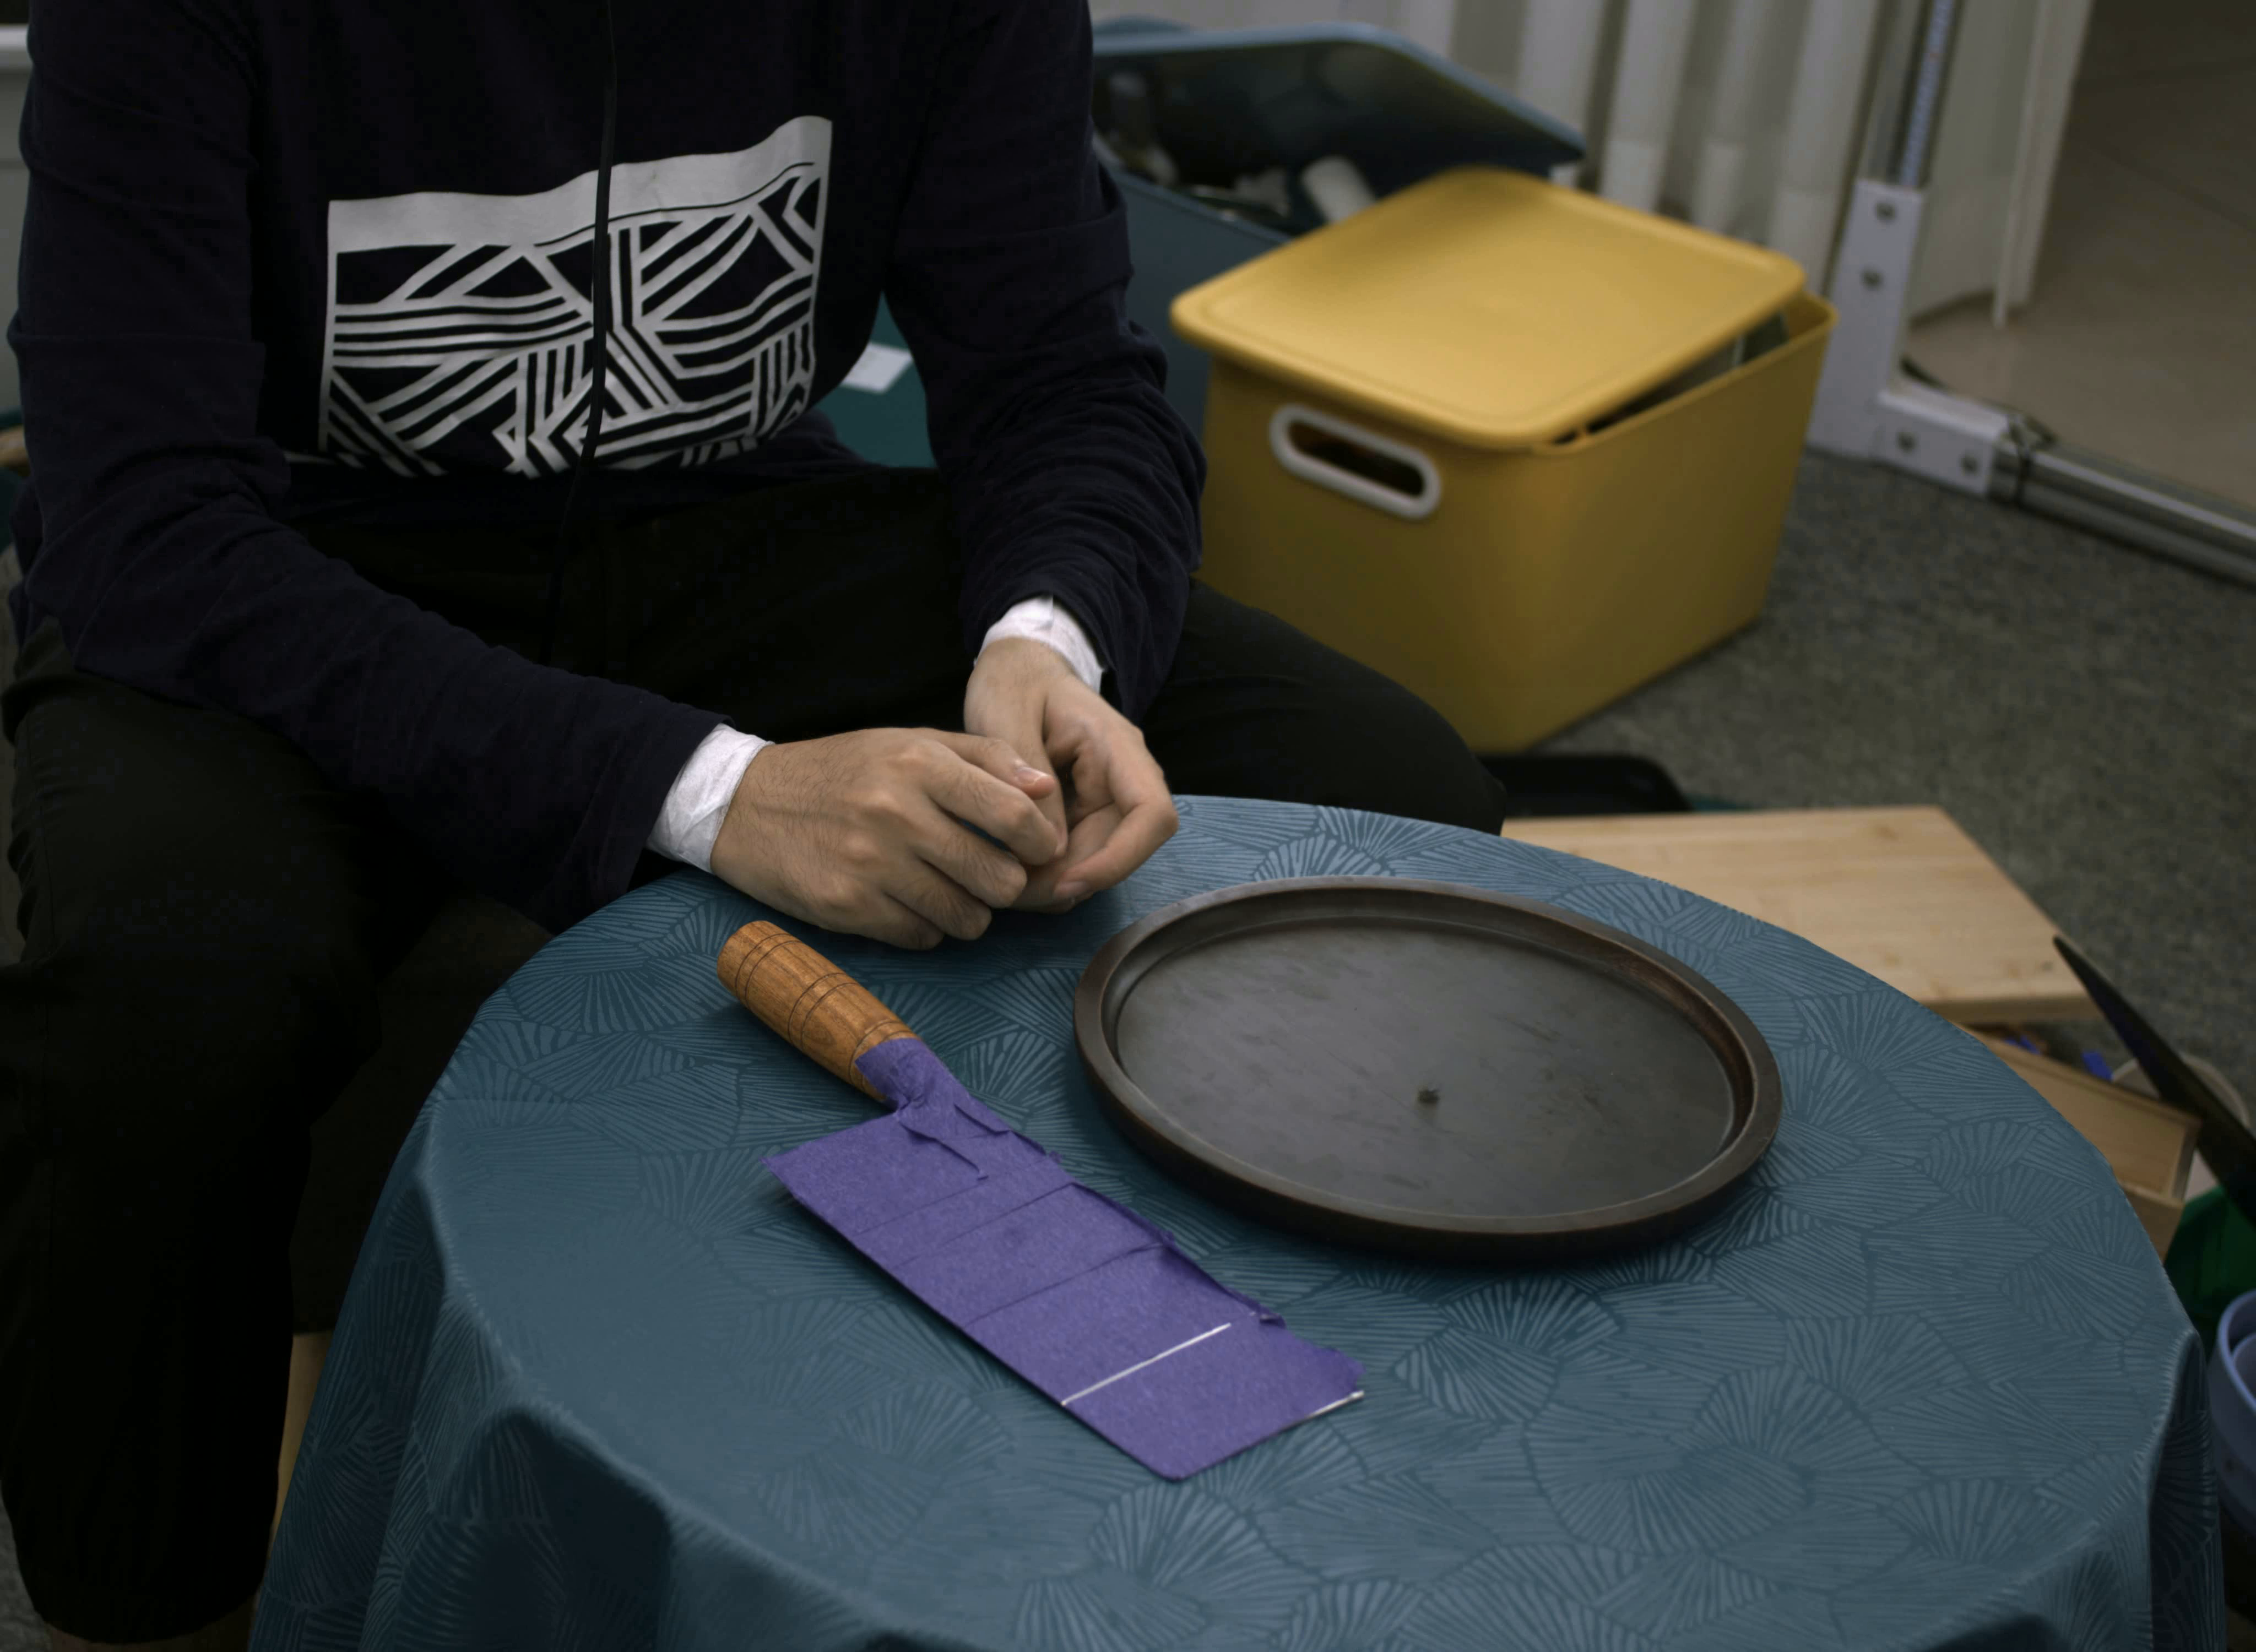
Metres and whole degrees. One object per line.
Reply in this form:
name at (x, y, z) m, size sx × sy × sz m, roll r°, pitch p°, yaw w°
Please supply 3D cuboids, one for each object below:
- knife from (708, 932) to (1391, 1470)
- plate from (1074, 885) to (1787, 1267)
knife at (-0.055, 0.121, 1.769) m, size 0.103 × 0.032 × 0.318 m, roll -18°, pitch 36°, yaw -40°
plate at (0.106, 0.086, 1.878) m, size 0.254 × 0.029 × 0.256 m, roll 6°, pitch 27°, yaw -3°
